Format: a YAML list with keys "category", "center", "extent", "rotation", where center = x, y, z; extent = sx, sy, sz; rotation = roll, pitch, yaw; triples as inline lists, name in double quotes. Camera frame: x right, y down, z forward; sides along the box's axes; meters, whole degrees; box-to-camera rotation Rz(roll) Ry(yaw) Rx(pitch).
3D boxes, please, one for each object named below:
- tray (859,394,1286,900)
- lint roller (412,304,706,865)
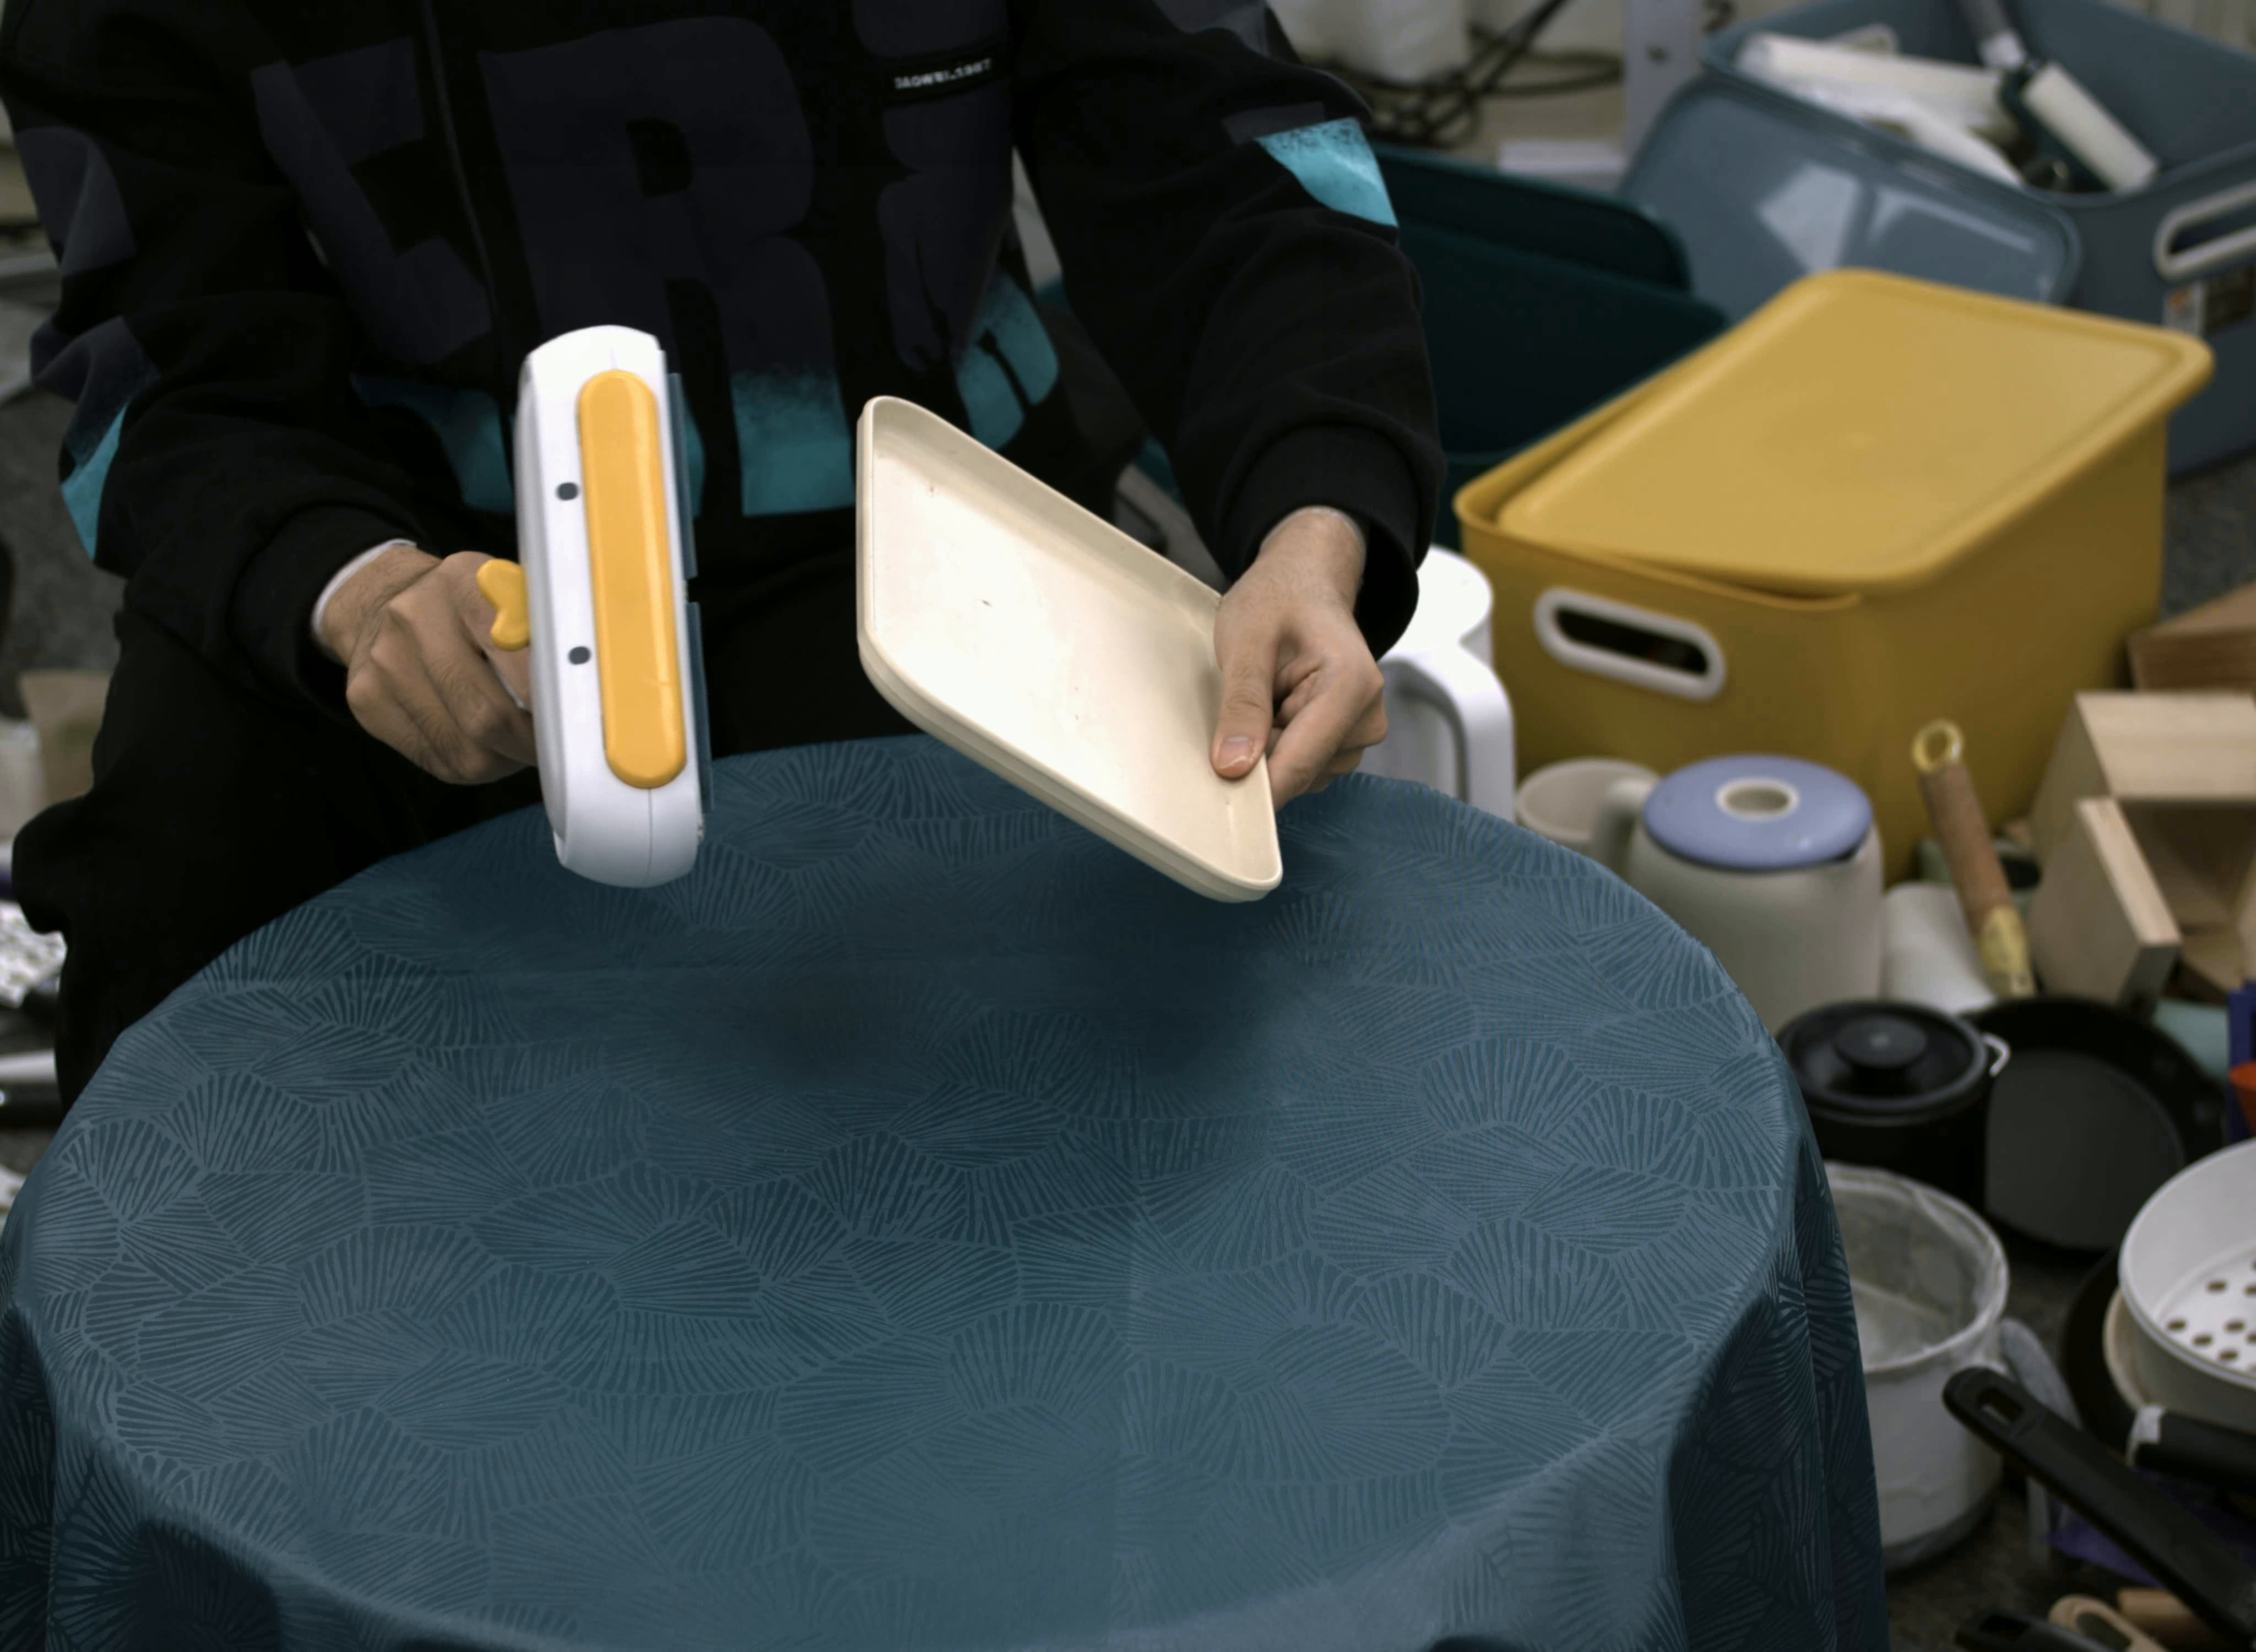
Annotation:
- category: "tray"
  center: [-0.024, -0.062, 1.952]
  extent: [0.170, 0.017, 0.243]
  rotation: [32, 21, -17]
- category: "lint roller"
  center: [-0.202, -0.061, 1.948]
  extent: [0.074, 0.195, 0.189]
  rotation: [-5, -18, -21]
